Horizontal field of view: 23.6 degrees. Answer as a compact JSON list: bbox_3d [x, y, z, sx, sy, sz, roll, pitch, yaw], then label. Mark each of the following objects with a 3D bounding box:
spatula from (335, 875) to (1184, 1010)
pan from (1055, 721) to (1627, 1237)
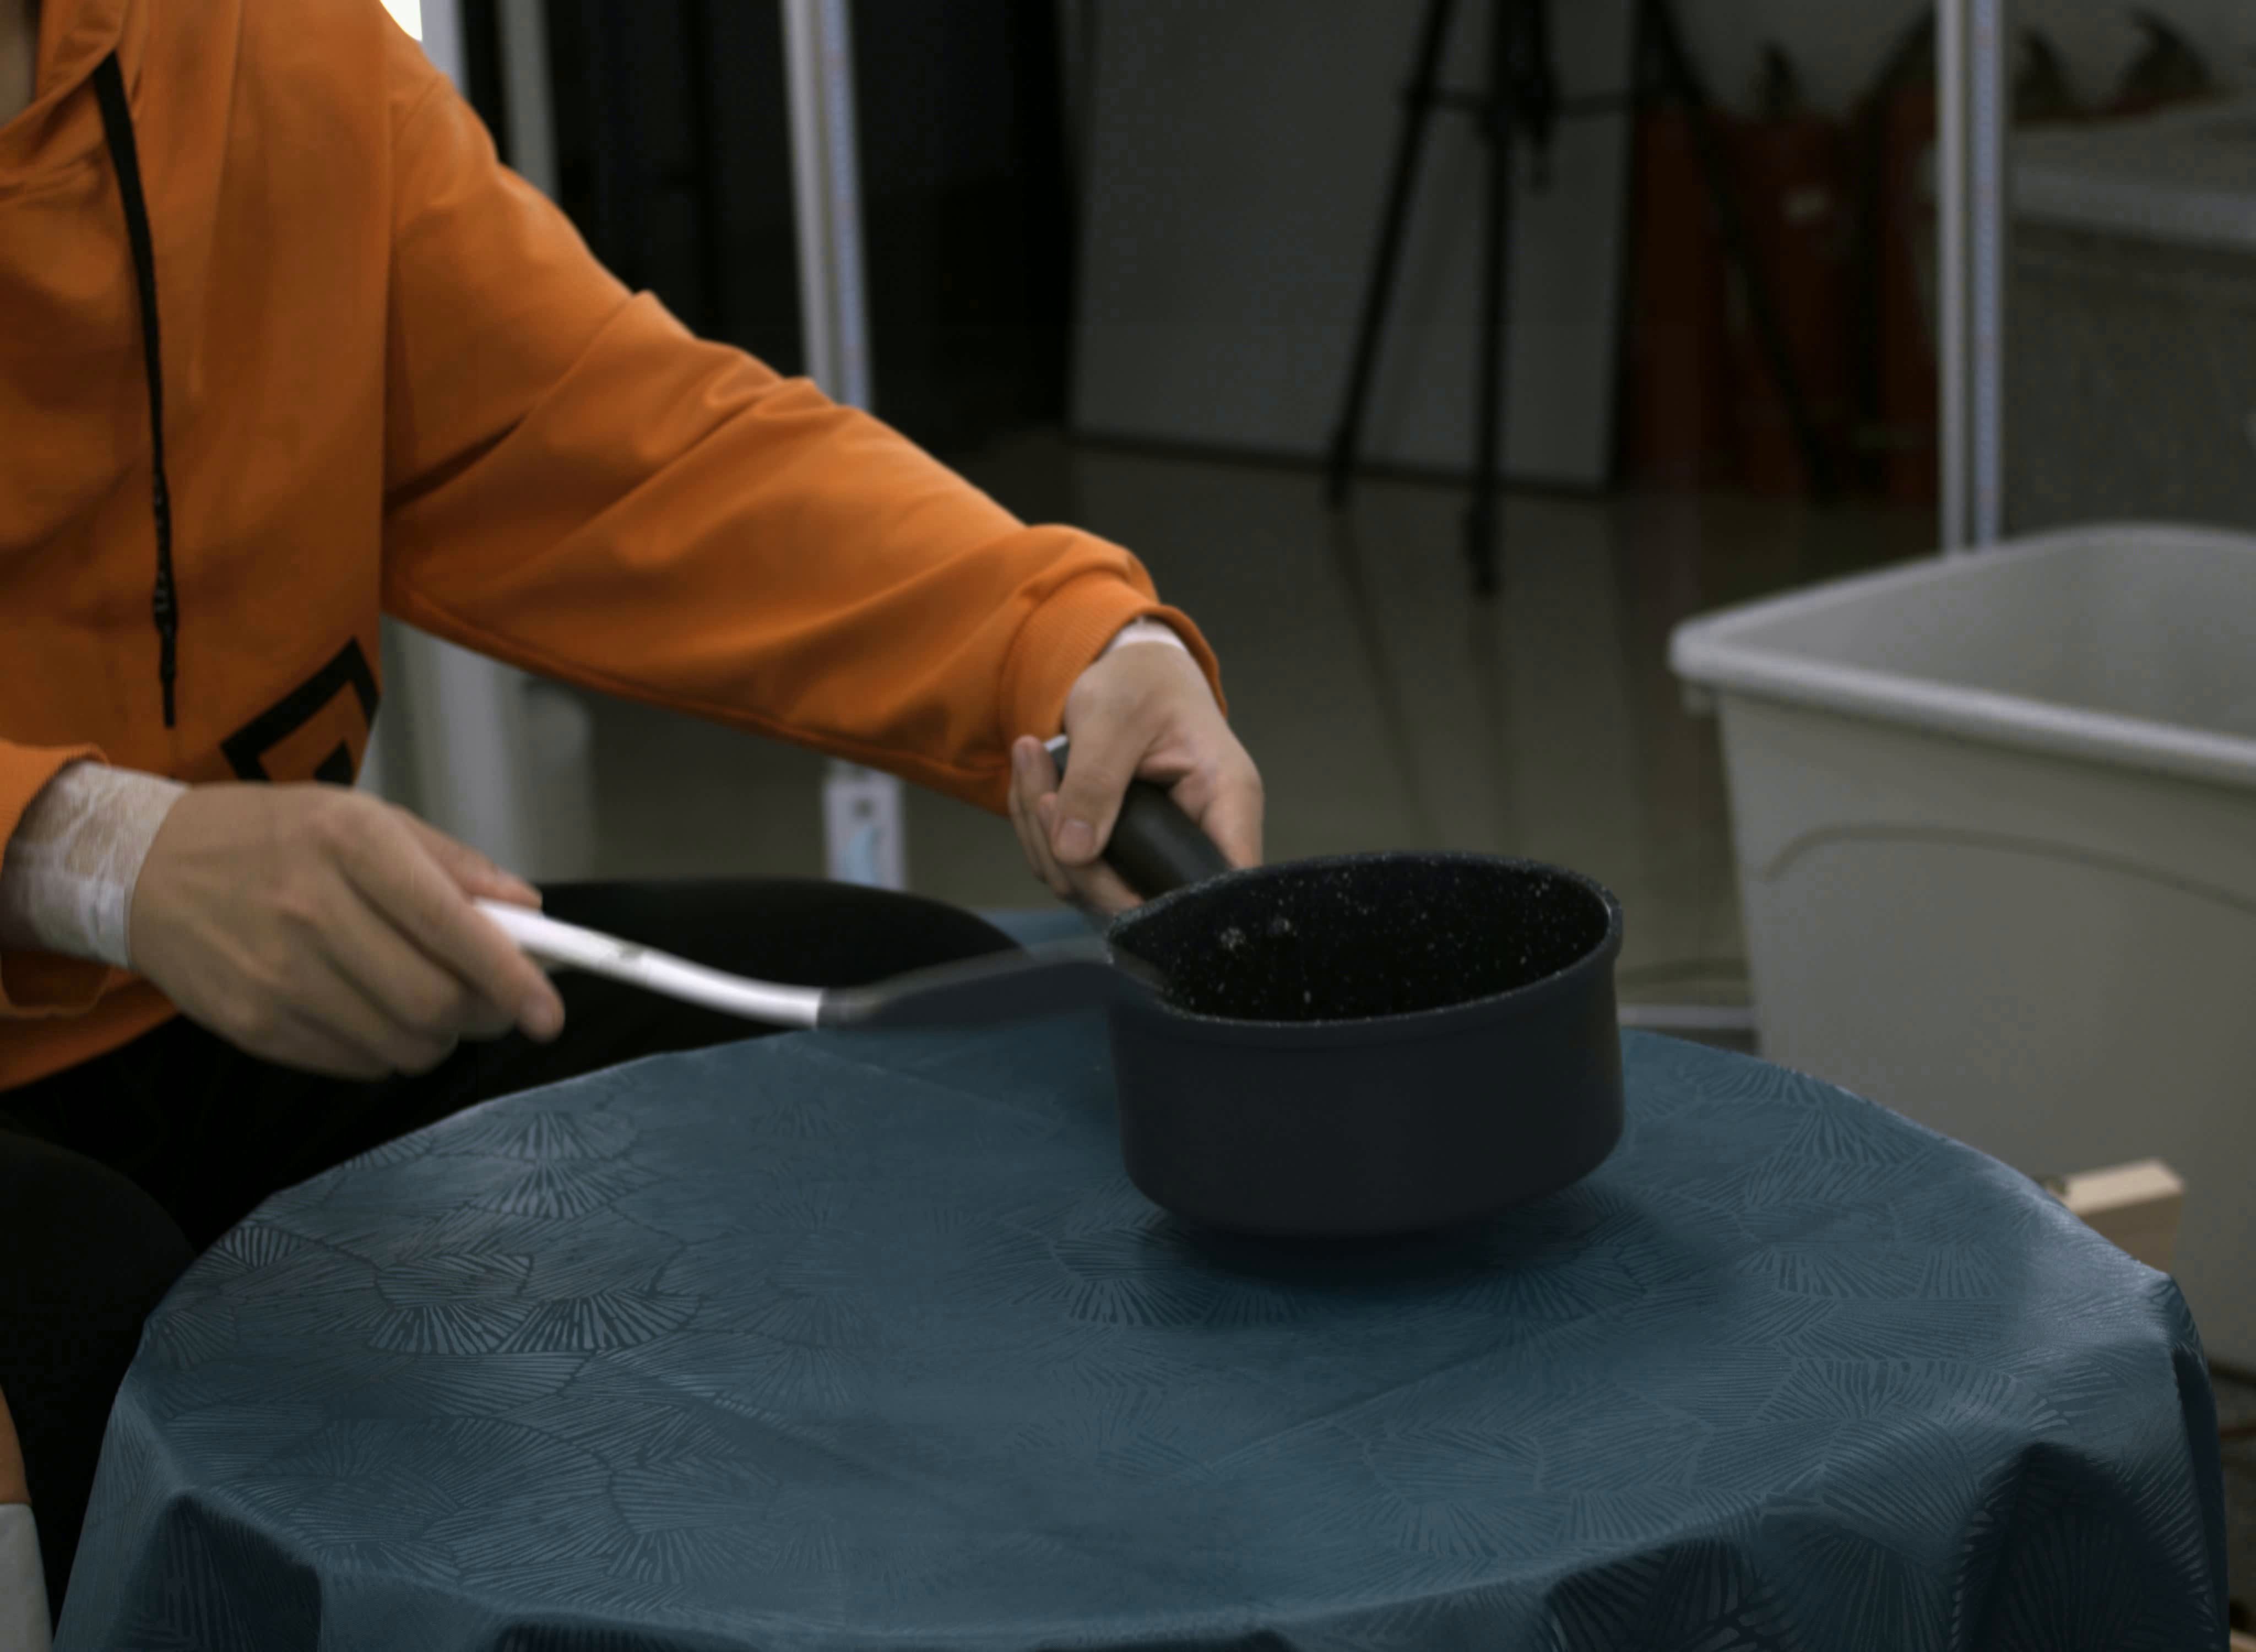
[{"bbox_3d":[-0.115,0.036,1.597,0.289,0.032,0.058,2,-19,33],"label":"spatula"},{"bbox_3d":[0.046,0.046,1.781,0.168,0.087,0.332,-11,18,-18],"label":"pan"}]
